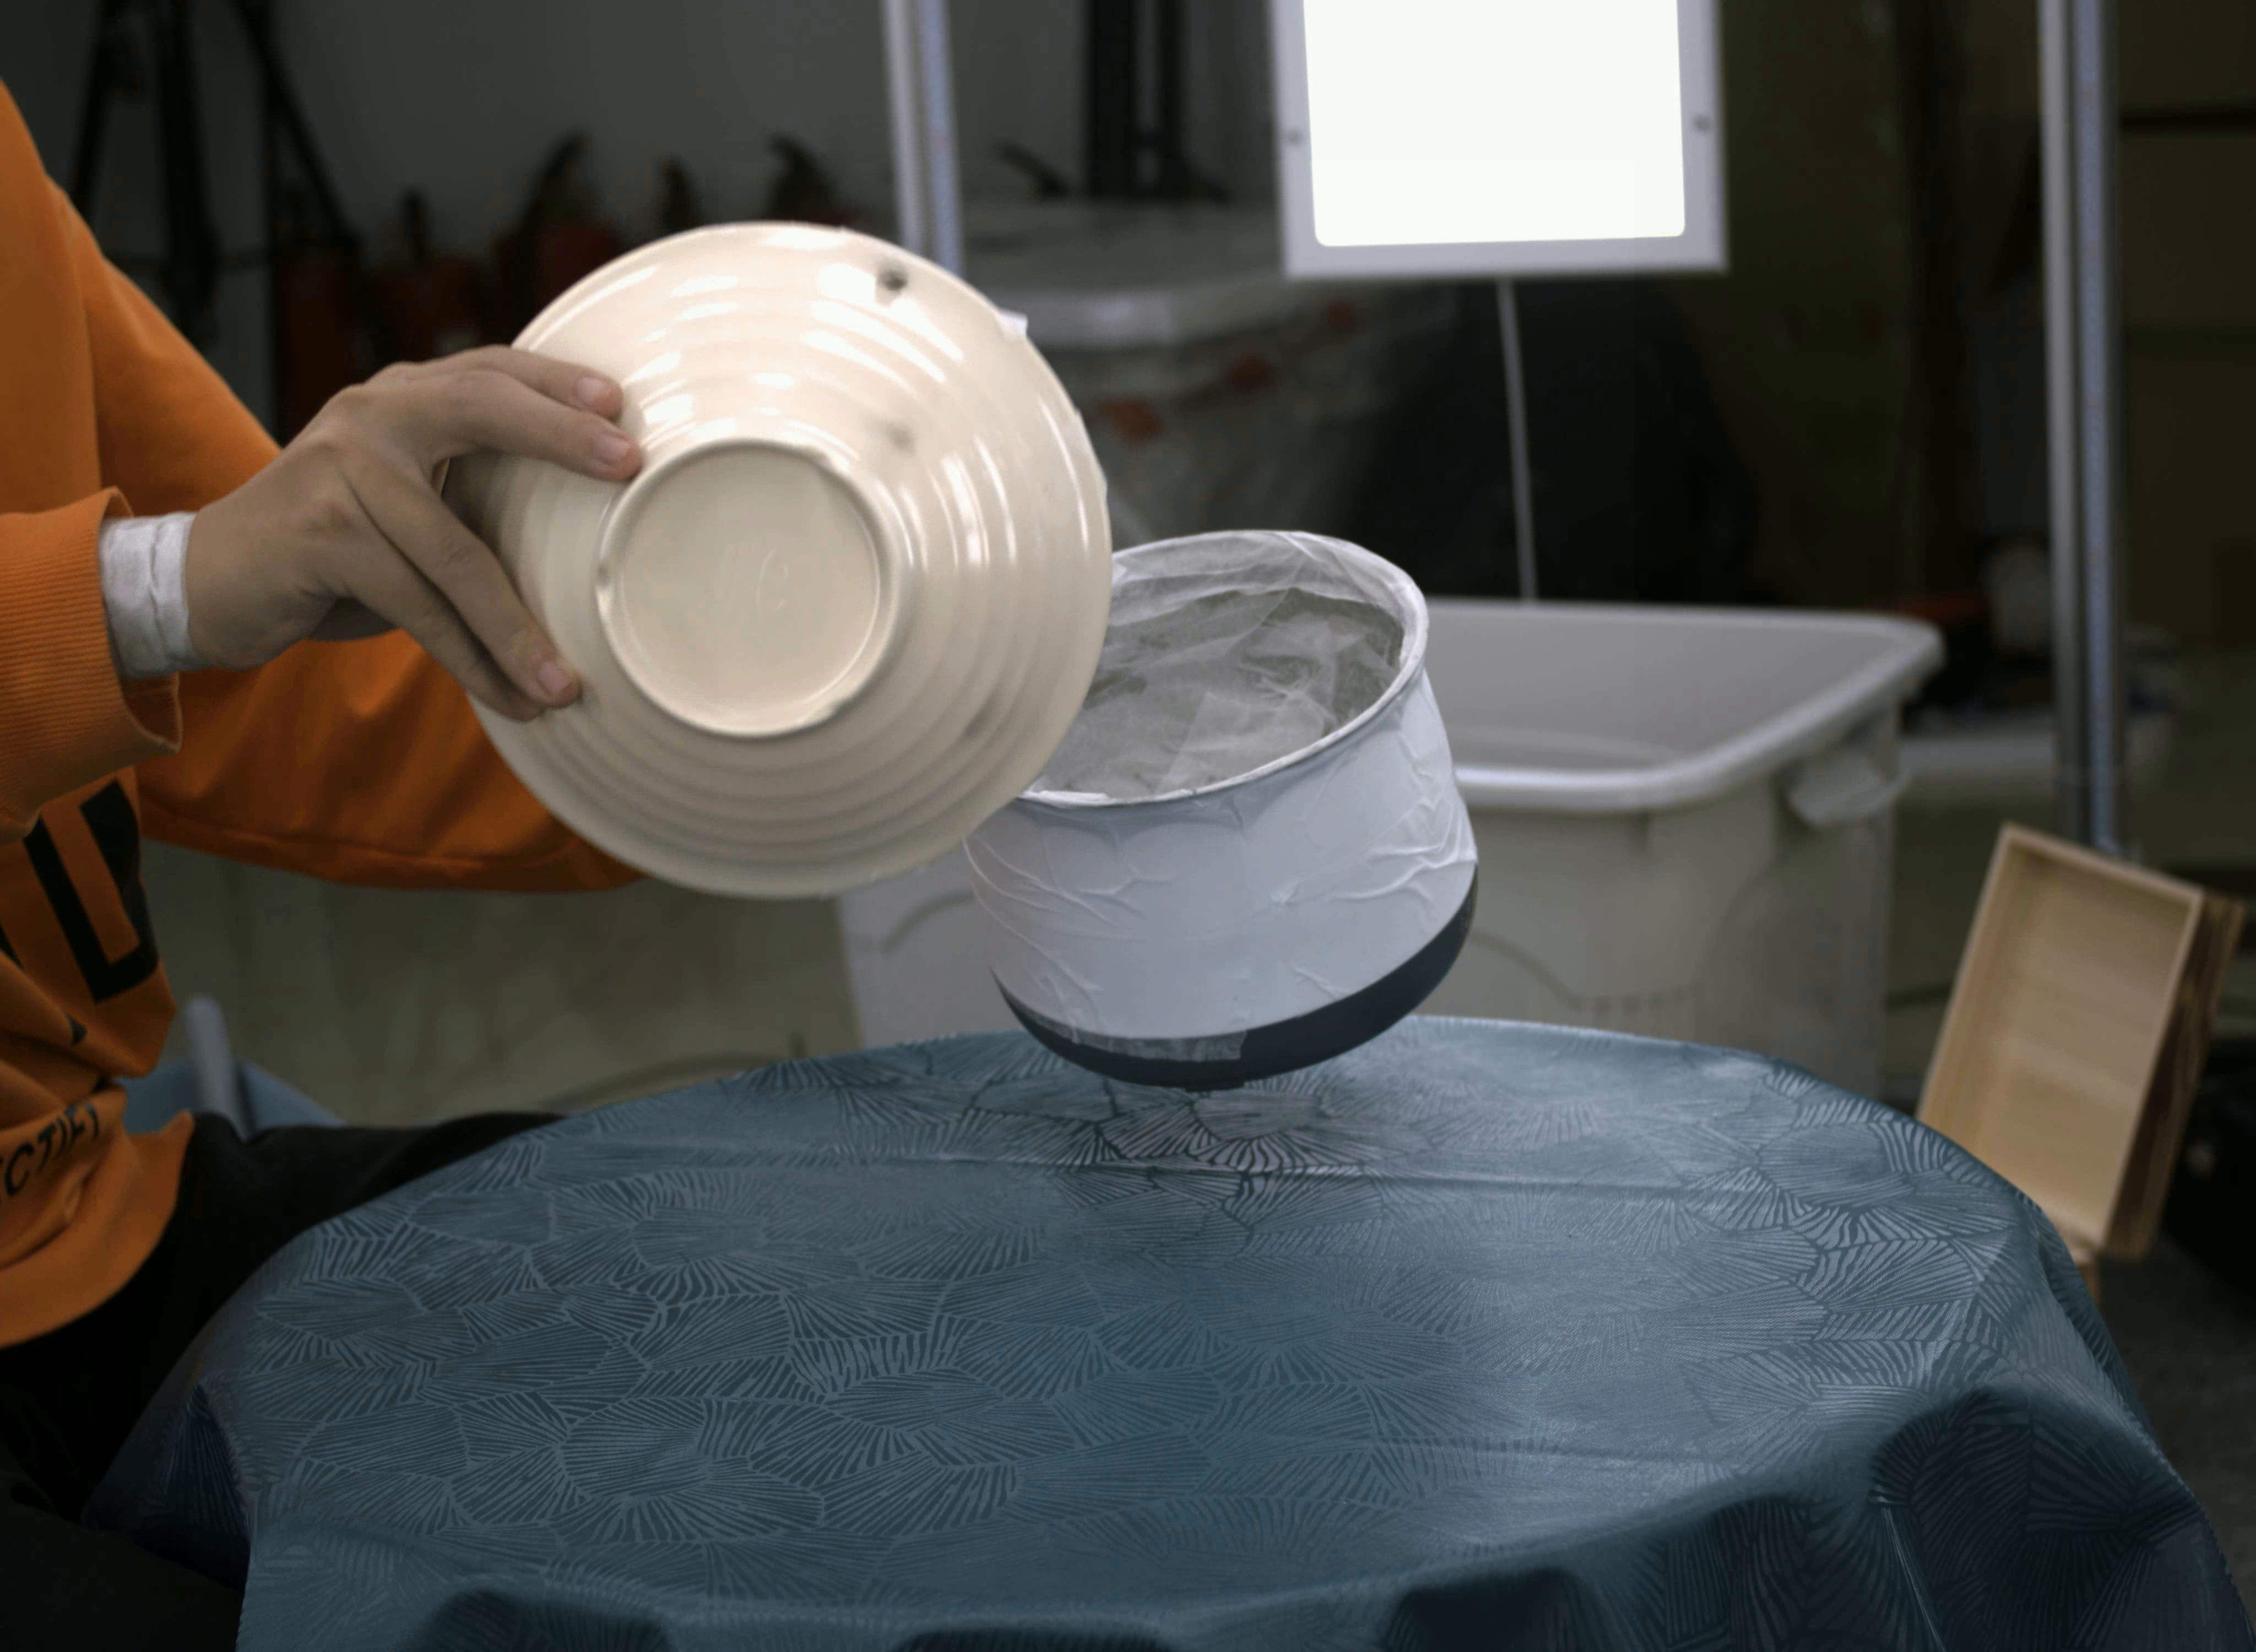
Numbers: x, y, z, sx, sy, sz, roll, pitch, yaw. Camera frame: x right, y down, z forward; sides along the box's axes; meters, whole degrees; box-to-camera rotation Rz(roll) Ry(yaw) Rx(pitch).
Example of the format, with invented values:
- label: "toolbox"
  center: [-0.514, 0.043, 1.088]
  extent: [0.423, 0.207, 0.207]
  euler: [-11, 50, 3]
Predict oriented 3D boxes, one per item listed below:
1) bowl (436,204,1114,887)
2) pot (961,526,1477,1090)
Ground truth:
- label: "bowl"
  center: [-0.105, -0.078, 1.607]
  extent: [0.204, 0.205, 0.077]
  euler: [-4, 8, 3]
- label: "pot"
  center: [0.013, -0.013, 1.933]
  extent: [0.175, 0.136, 0.238]
  euler: [-29, 34, -24]
